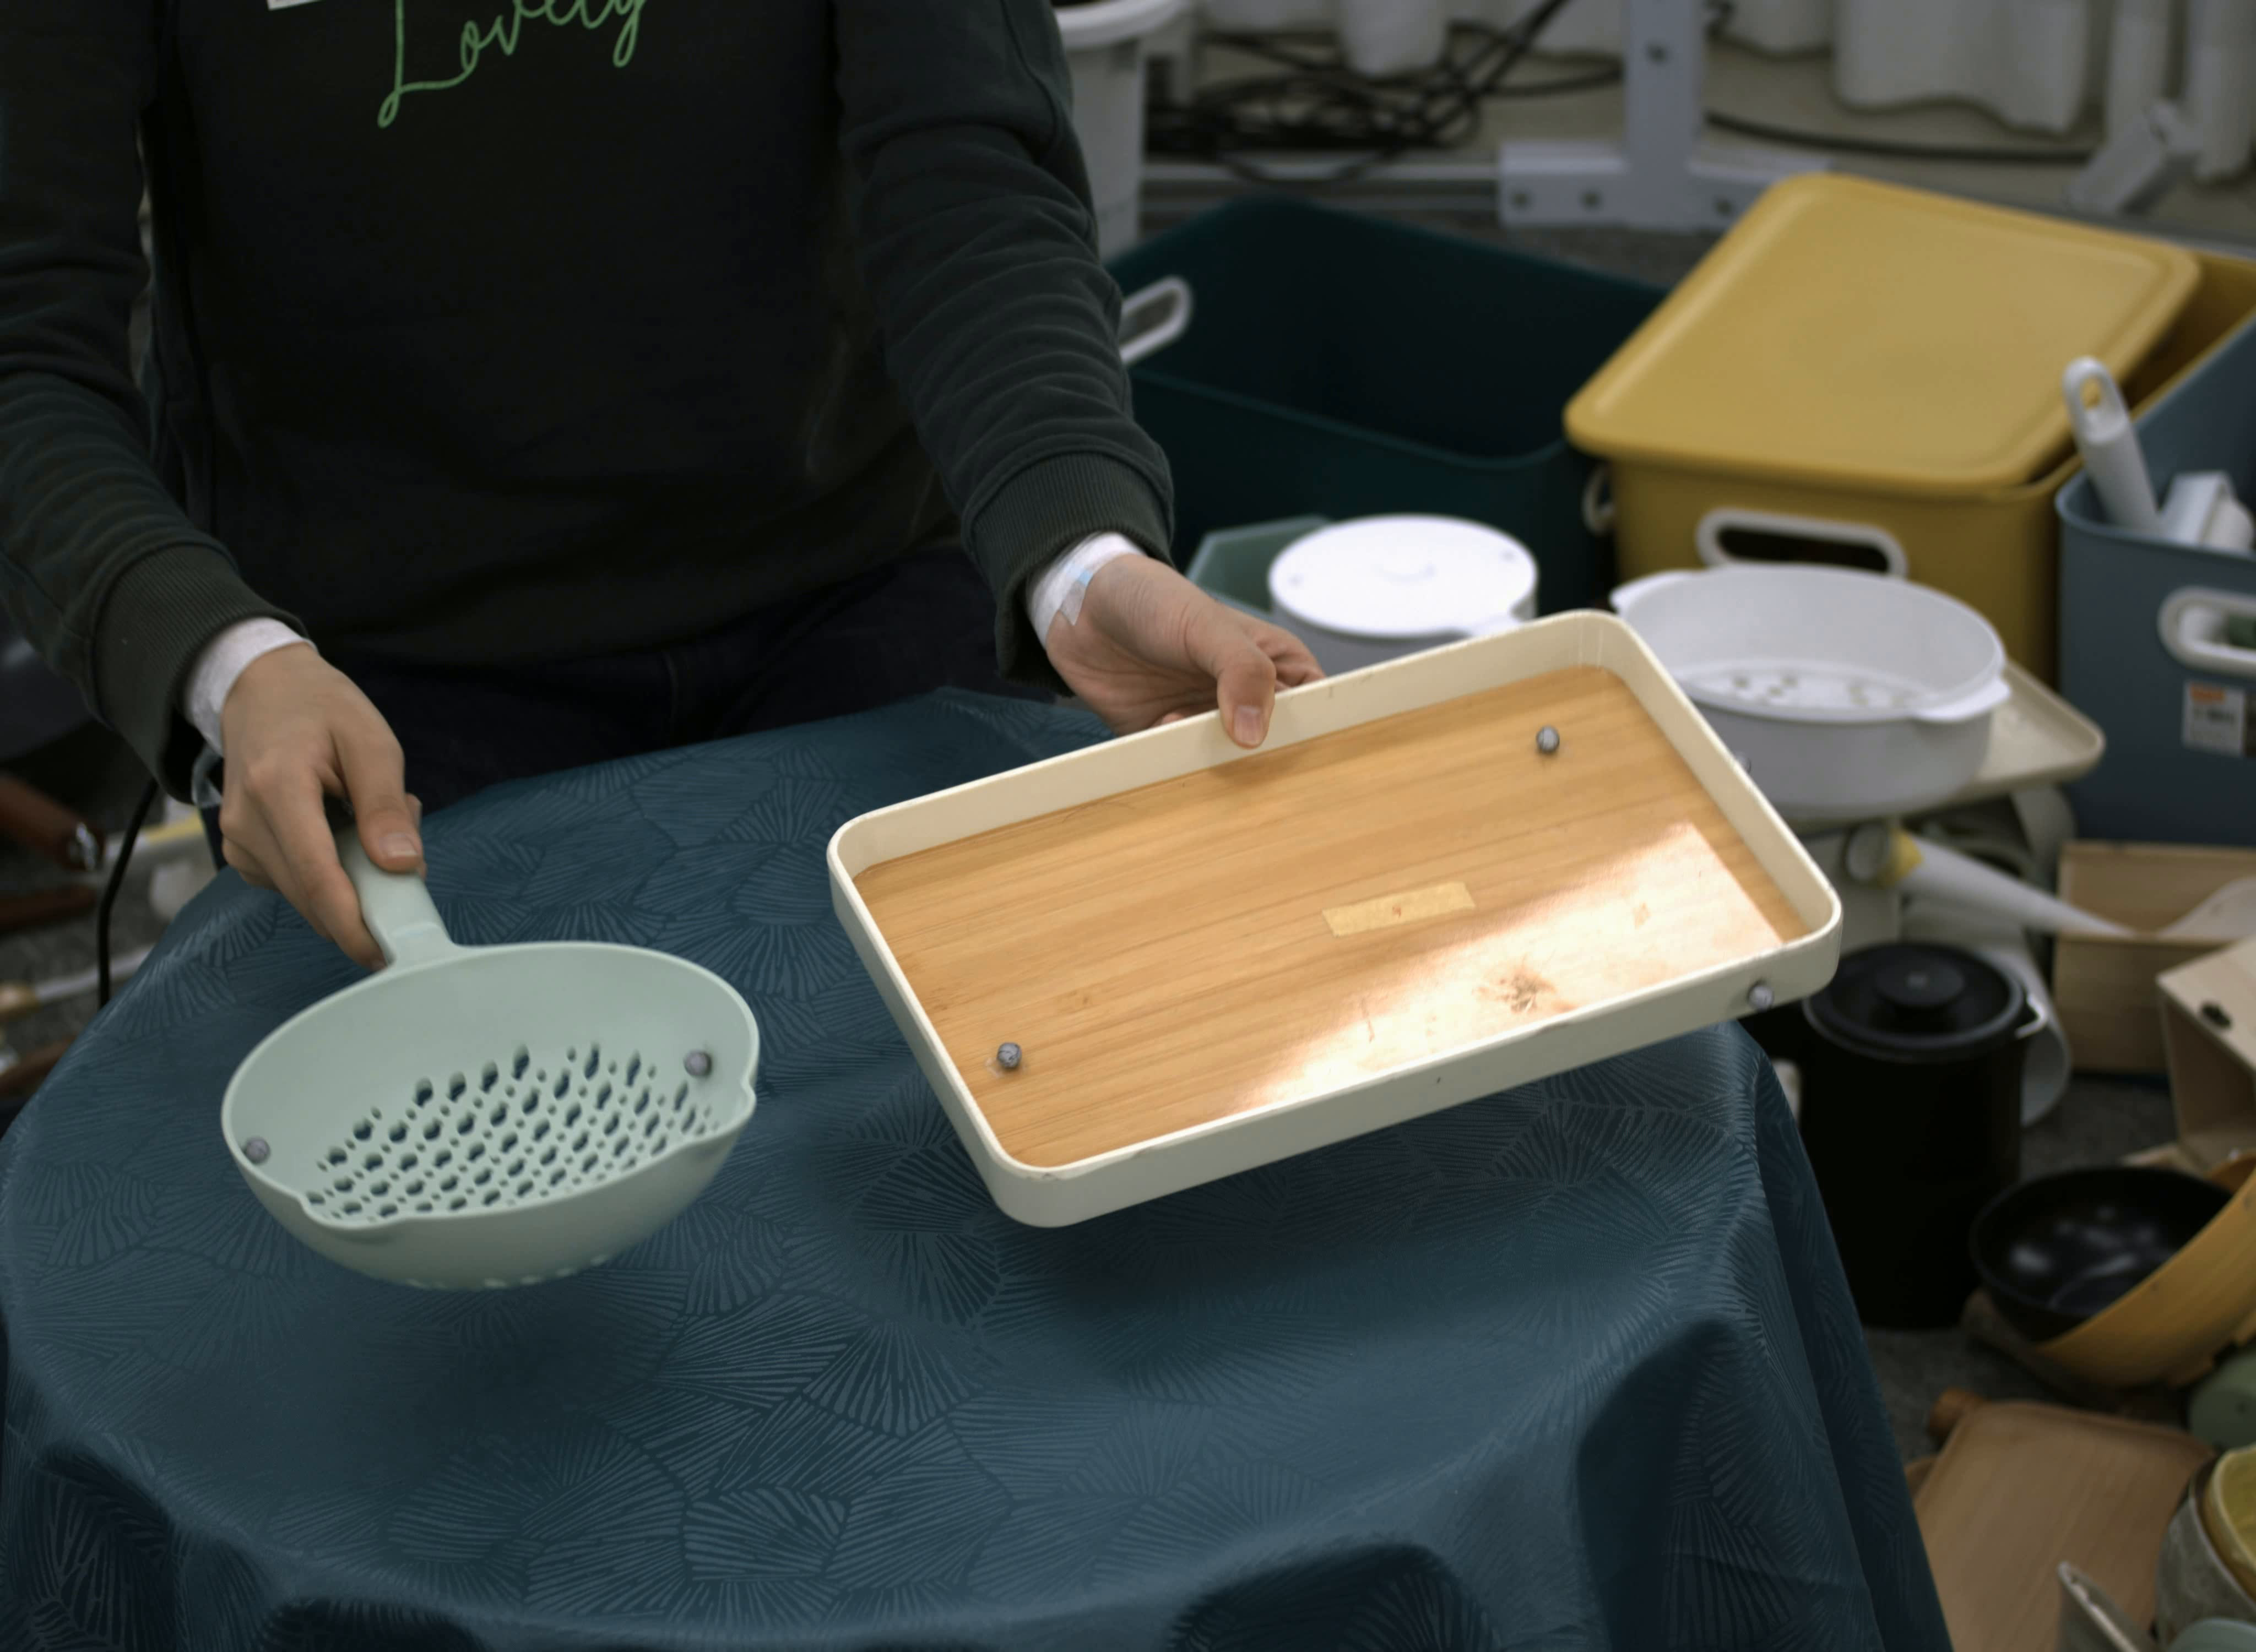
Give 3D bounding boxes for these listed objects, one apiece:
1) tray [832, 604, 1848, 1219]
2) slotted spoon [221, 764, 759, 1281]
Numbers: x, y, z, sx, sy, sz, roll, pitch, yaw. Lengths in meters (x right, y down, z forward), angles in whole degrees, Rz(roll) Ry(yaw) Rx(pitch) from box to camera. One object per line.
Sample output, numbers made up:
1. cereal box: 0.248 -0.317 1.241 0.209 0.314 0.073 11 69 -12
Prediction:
1. tray: 0.068 0.024 1.871 0.301 0.027 0.194 -16 41 -16
2. slotted spoon: -0.229 0.048 1.839 0.169 0.074 0.363 -13 34 -15
